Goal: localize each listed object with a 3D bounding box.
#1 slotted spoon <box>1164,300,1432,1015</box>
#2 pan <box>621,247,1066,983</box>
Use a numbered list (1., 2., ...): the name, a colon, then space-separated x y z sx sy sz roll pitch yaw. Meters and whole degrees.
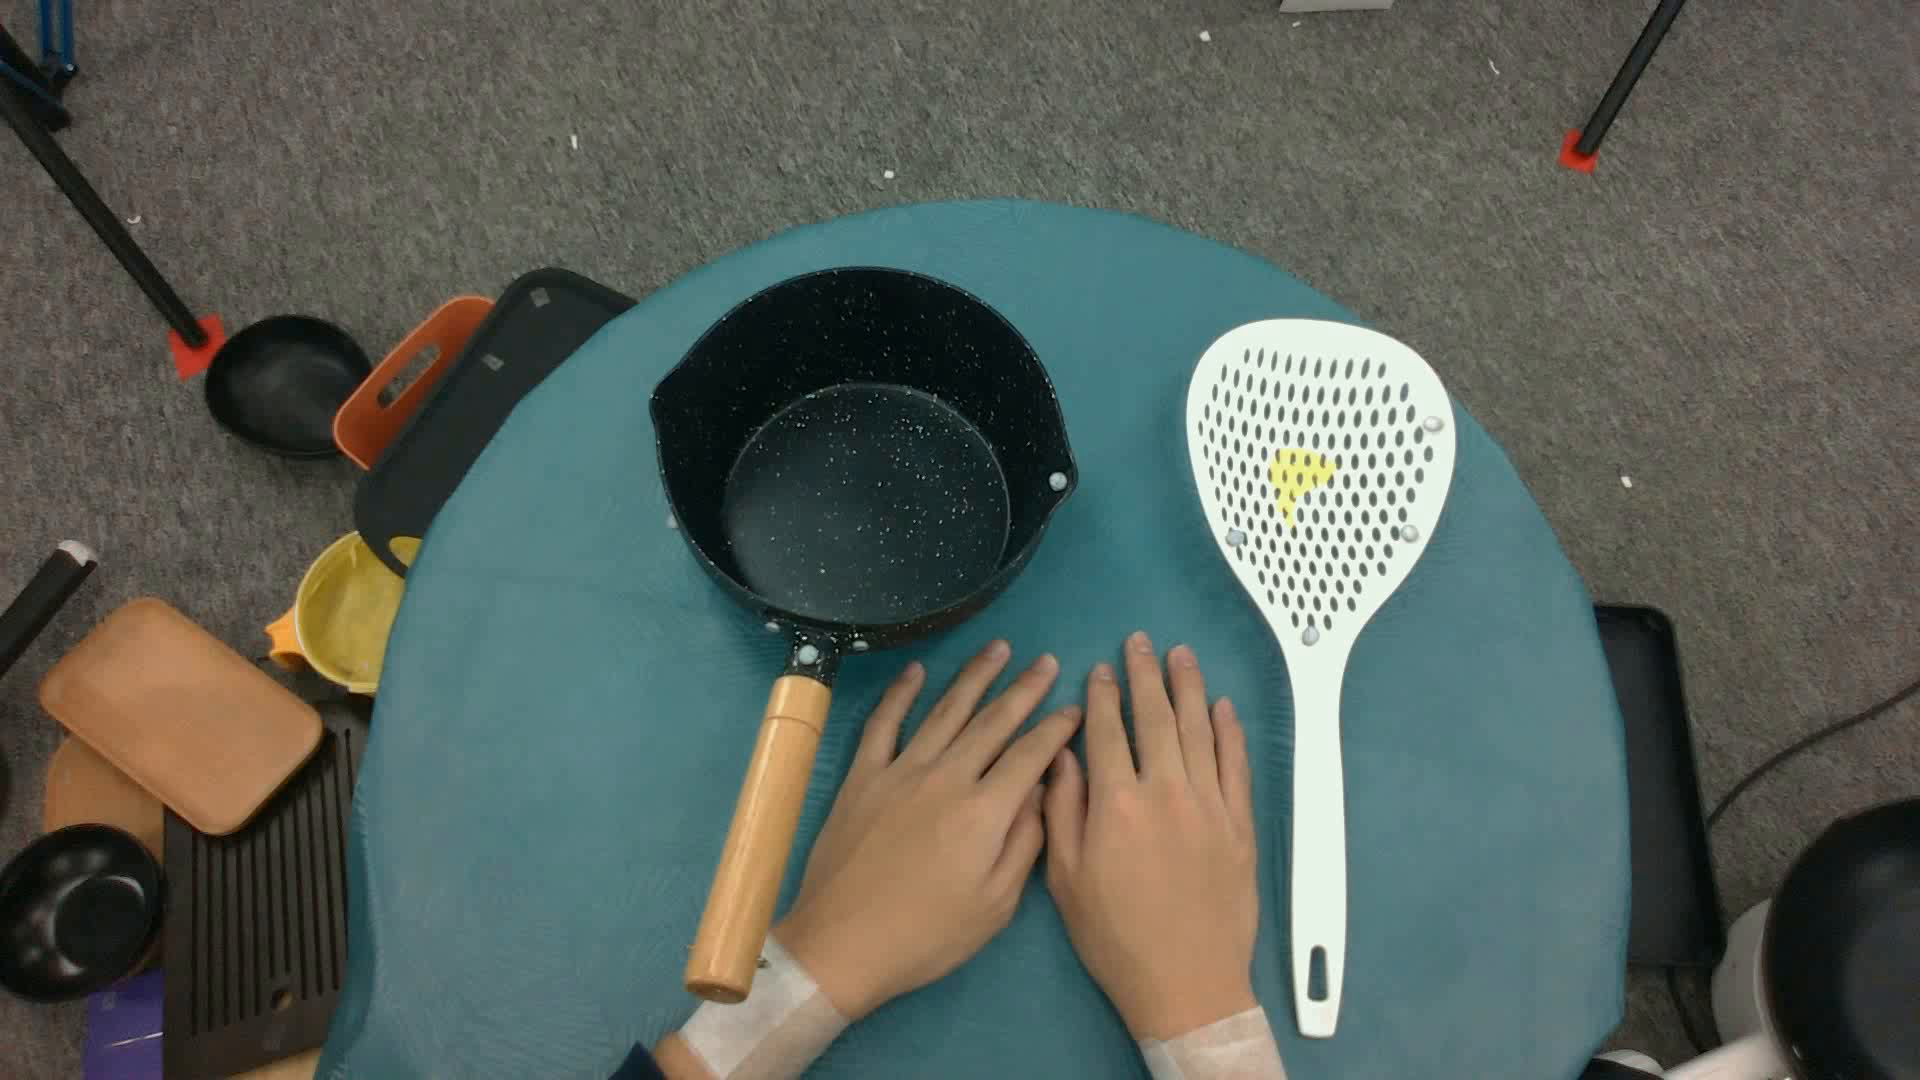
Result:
1. slotted spoon: 0.163 0.042 0.661 0.137 0.050 0.349 5 65 -3
2. pan: -0.066 0.028 0.620 0.207 0.108 0.344 10 65 0
